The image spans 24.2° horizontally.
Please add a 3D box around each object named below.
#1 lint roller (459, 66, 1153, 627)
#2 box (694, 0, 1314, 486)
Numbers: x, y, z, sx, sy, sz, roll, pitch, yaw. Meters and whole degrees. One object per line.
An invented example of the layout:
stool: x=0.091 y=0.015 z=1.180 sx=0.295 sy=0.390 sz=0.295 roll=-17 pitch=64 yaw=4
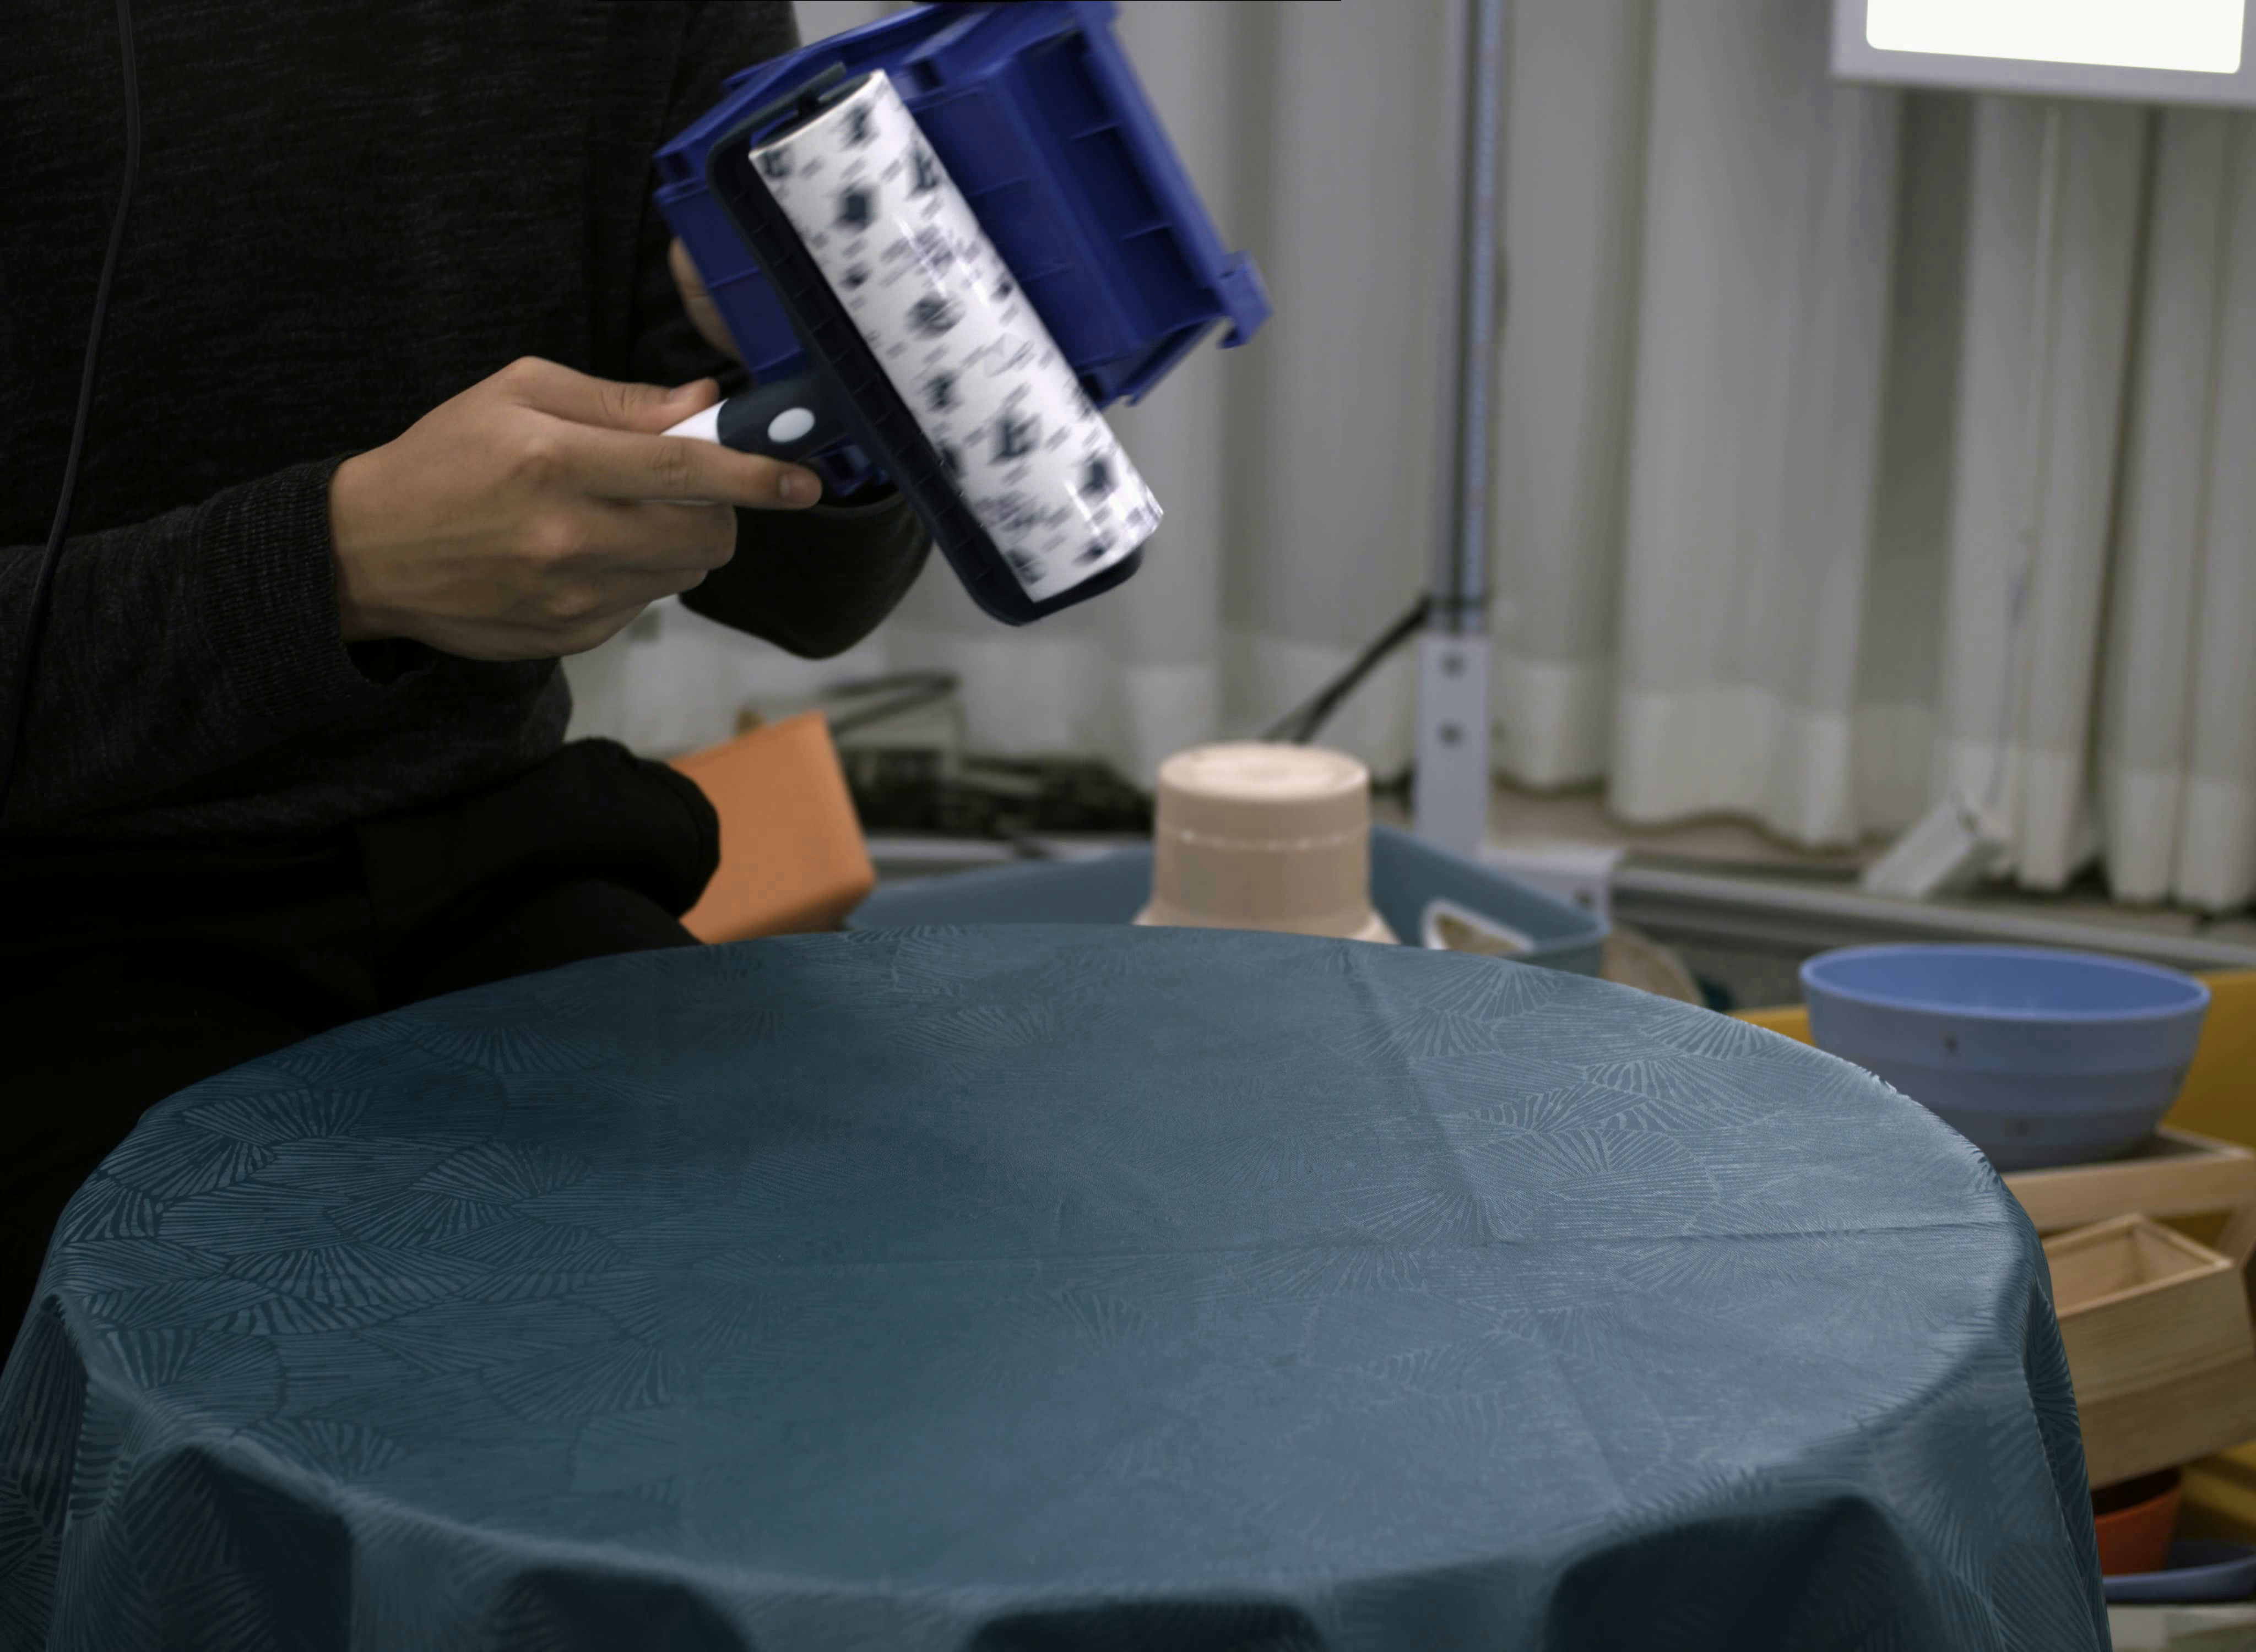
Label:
lint roller: x=-0.125 y=-0.113 z=1.629 sx=0.245 sy=0.177 sz=0.050 roll=-24 pitch=18 yaw=37
box: x=-0.035 y=-0.191 z=1.613 sx=0.178 sy=0.125 sz=0.082 roll=-16 pitch=21 yaw=36
